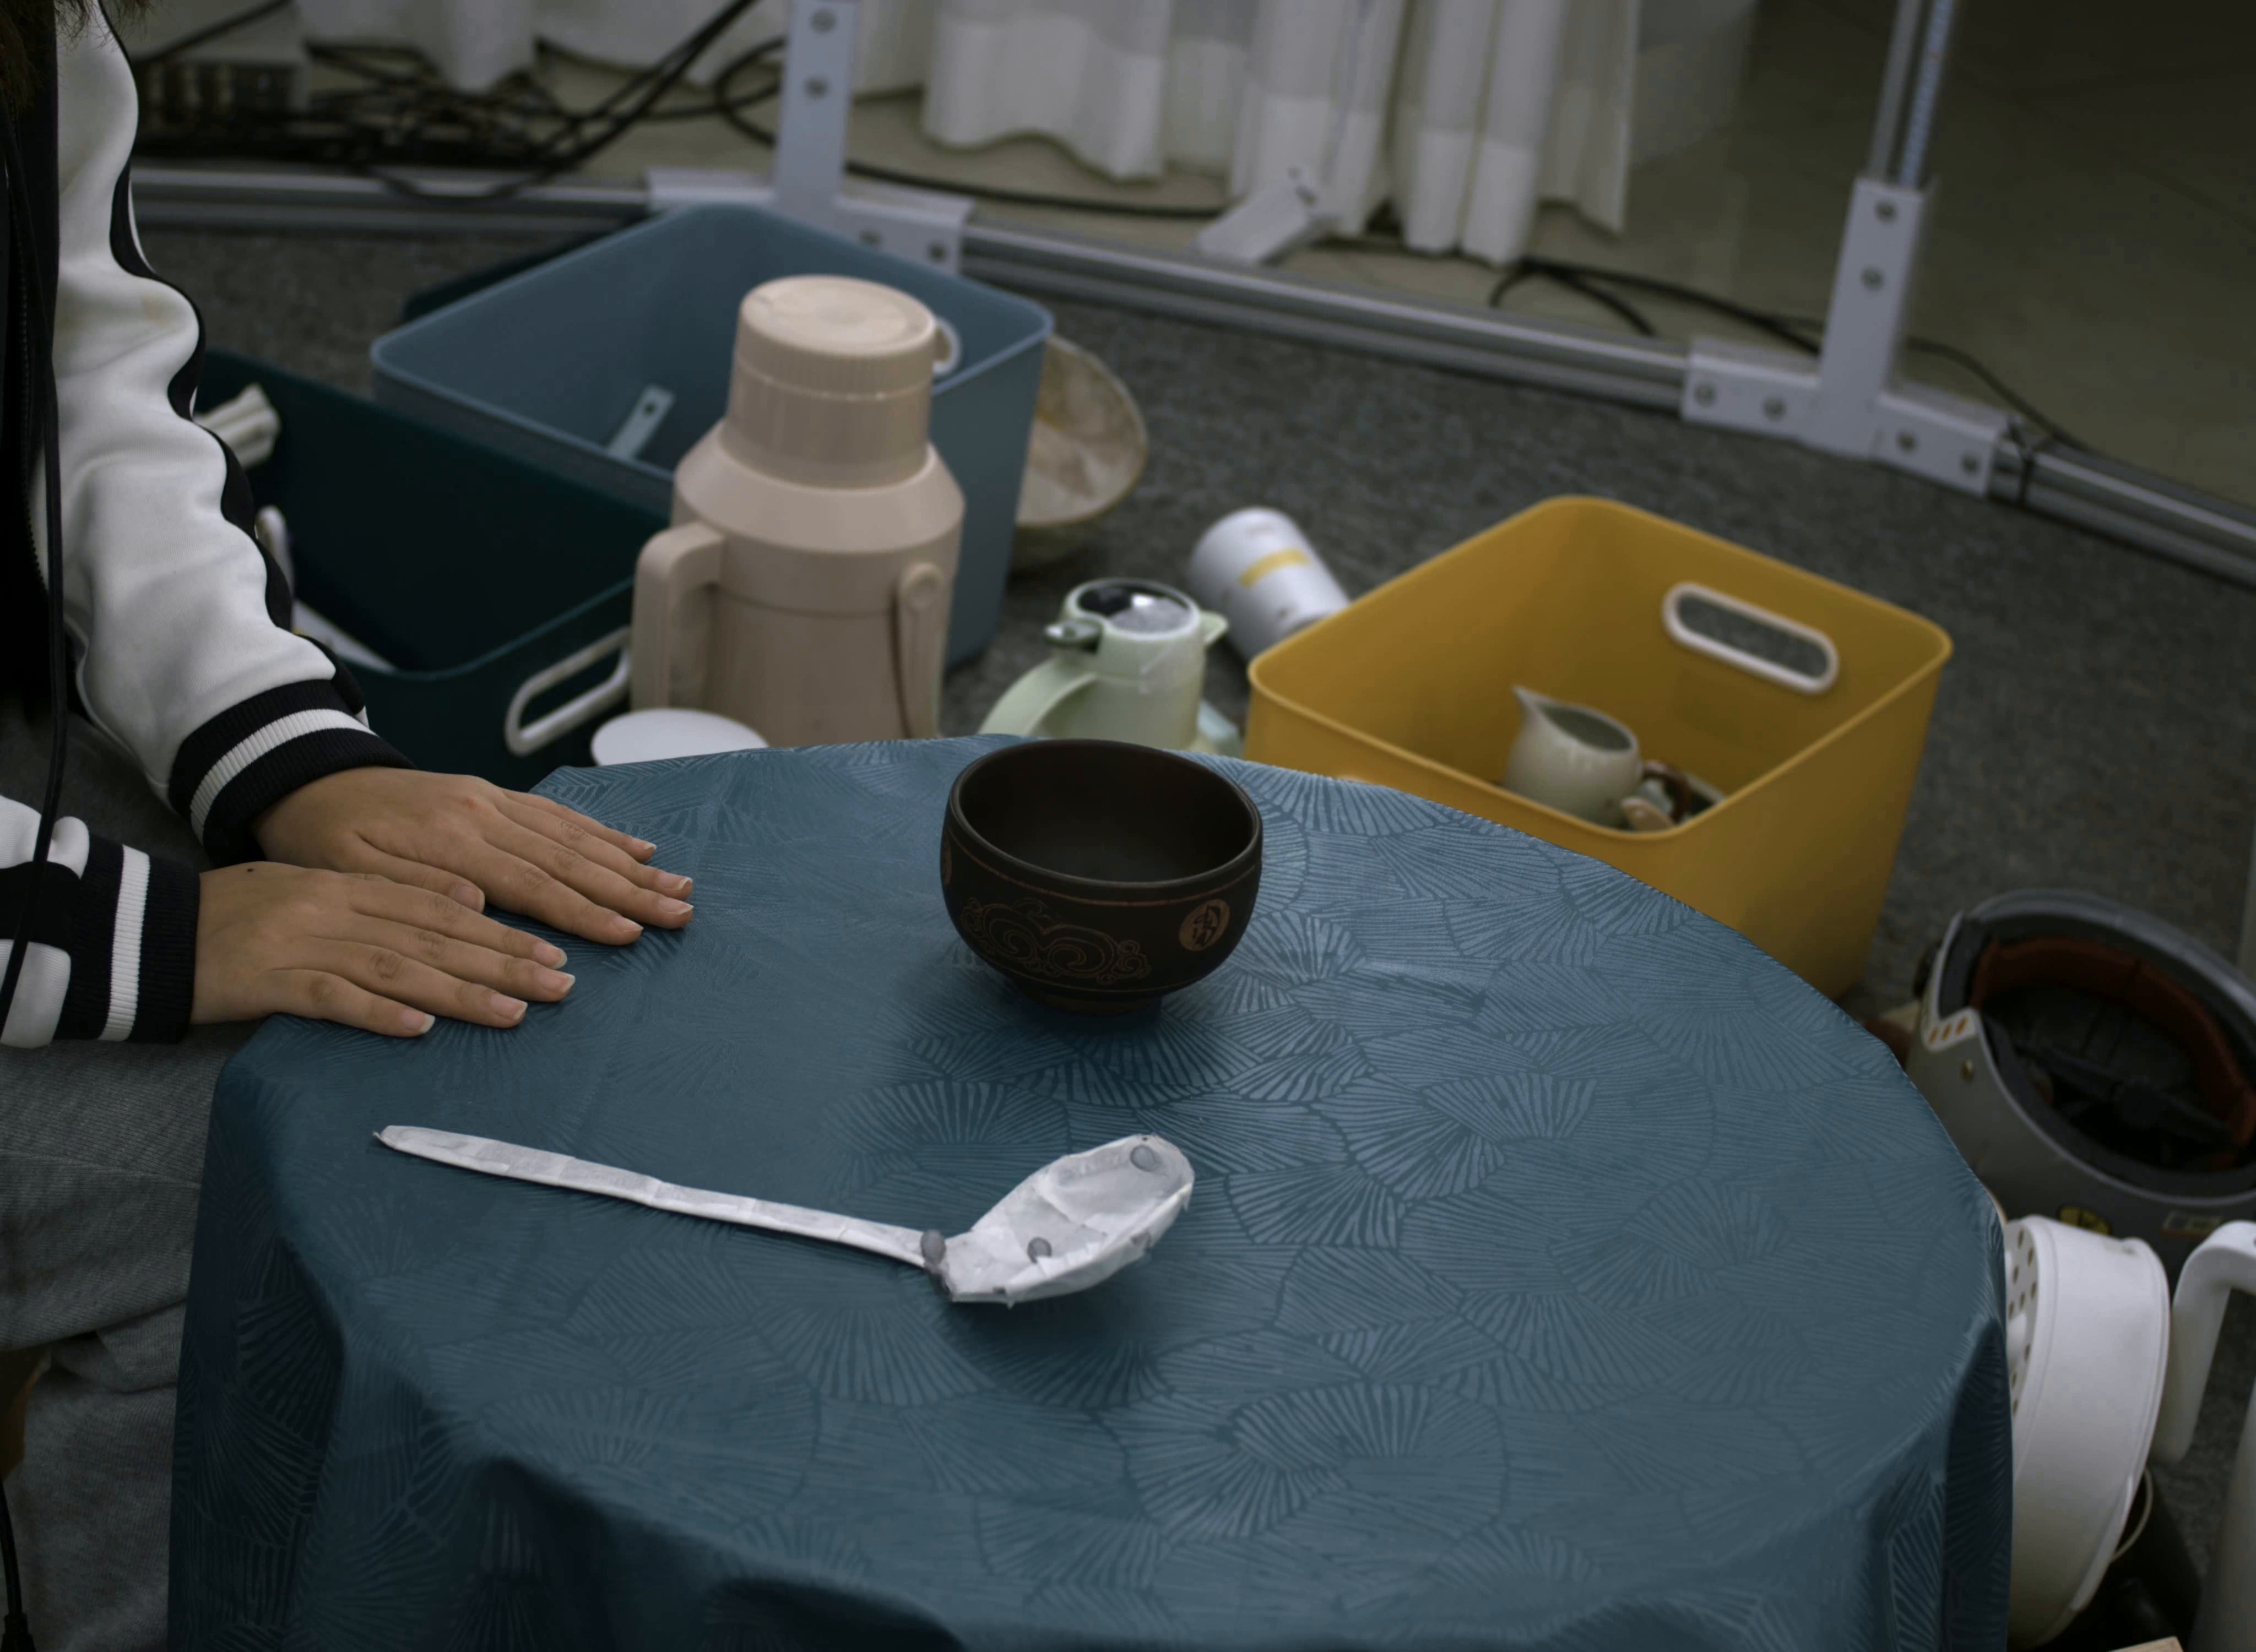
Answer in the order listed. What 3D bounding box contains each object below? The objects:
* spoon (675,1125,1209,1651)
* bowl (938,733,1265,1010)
[{"bbox_3d":[-0.071,0.207,1.744,0.059,0.277,0.101,32,1,-11],"label":"spoon"},{"bbox_3d":[-0.011,0.023,1.917,0.117,0.069,0.119,5,26,-3],"label":"bowl"}]
